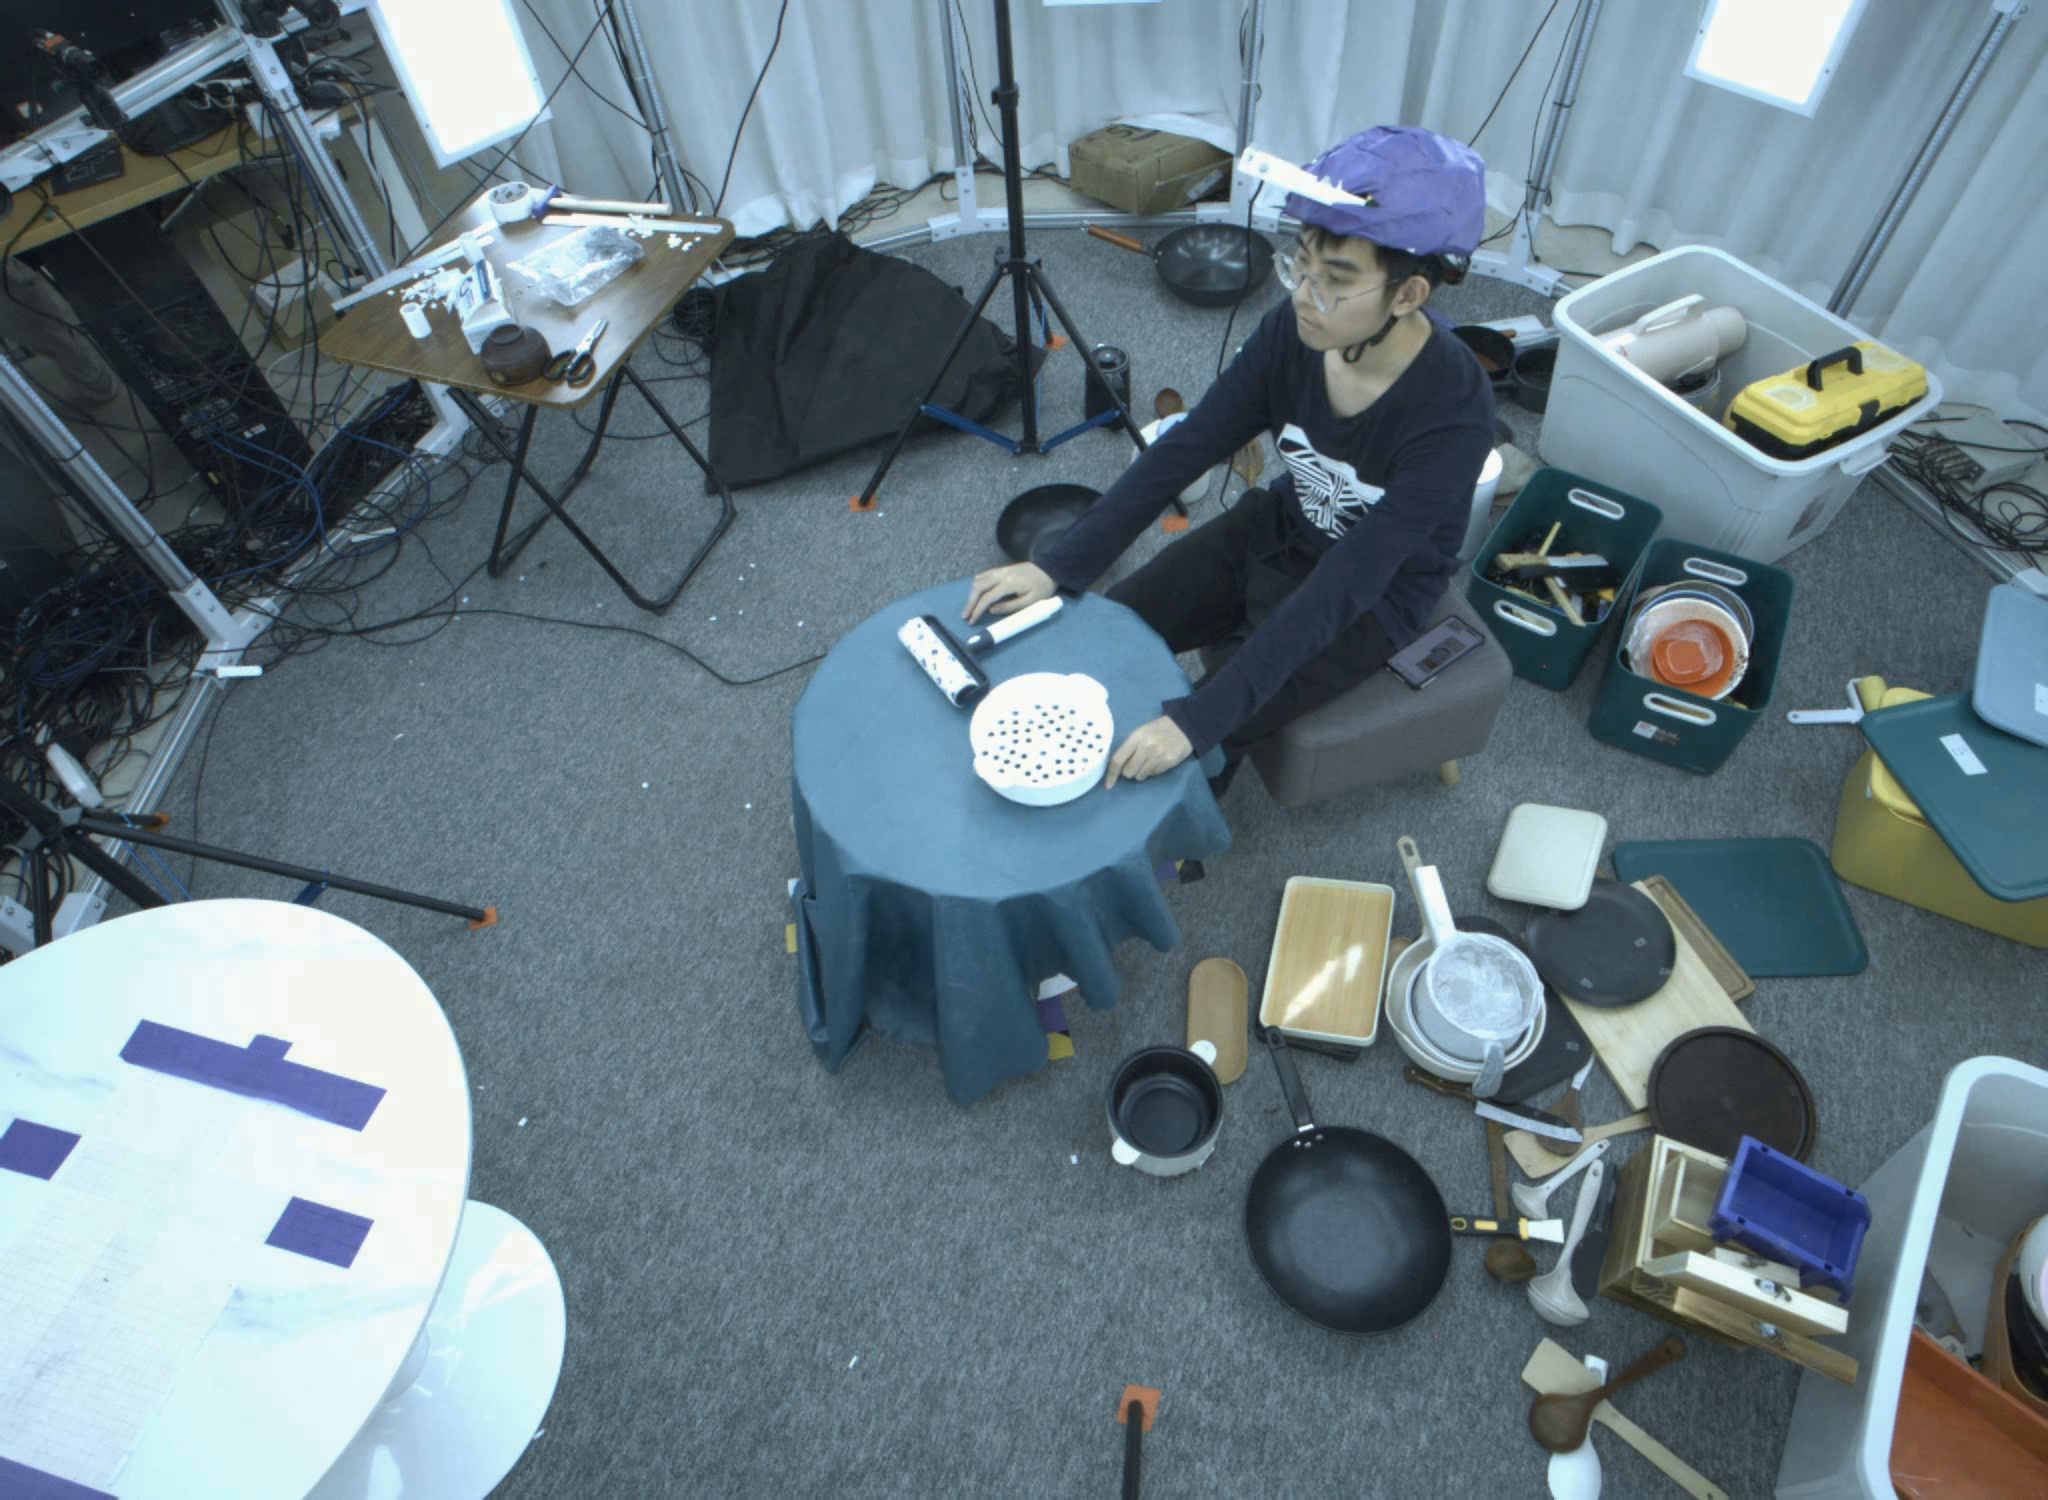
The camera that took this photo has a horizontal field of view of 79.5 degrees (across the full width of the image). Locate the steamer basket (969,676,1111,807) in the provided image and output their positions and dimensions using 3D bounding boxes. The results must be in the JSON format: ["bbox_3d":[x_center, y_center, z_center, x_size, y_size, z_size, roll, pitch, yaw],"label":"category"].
[{"bbox_3d":[0.023,-0.011,1.762,0.198,0.070,0.232,37,60,23],"label":"steamer basket"}]

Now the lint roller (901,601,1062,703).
[{"bbox_3d":[-0.047,-0.182,1.902,0.249,0.051,0.173,-29,58,-21],"label":"lint roller"}]
